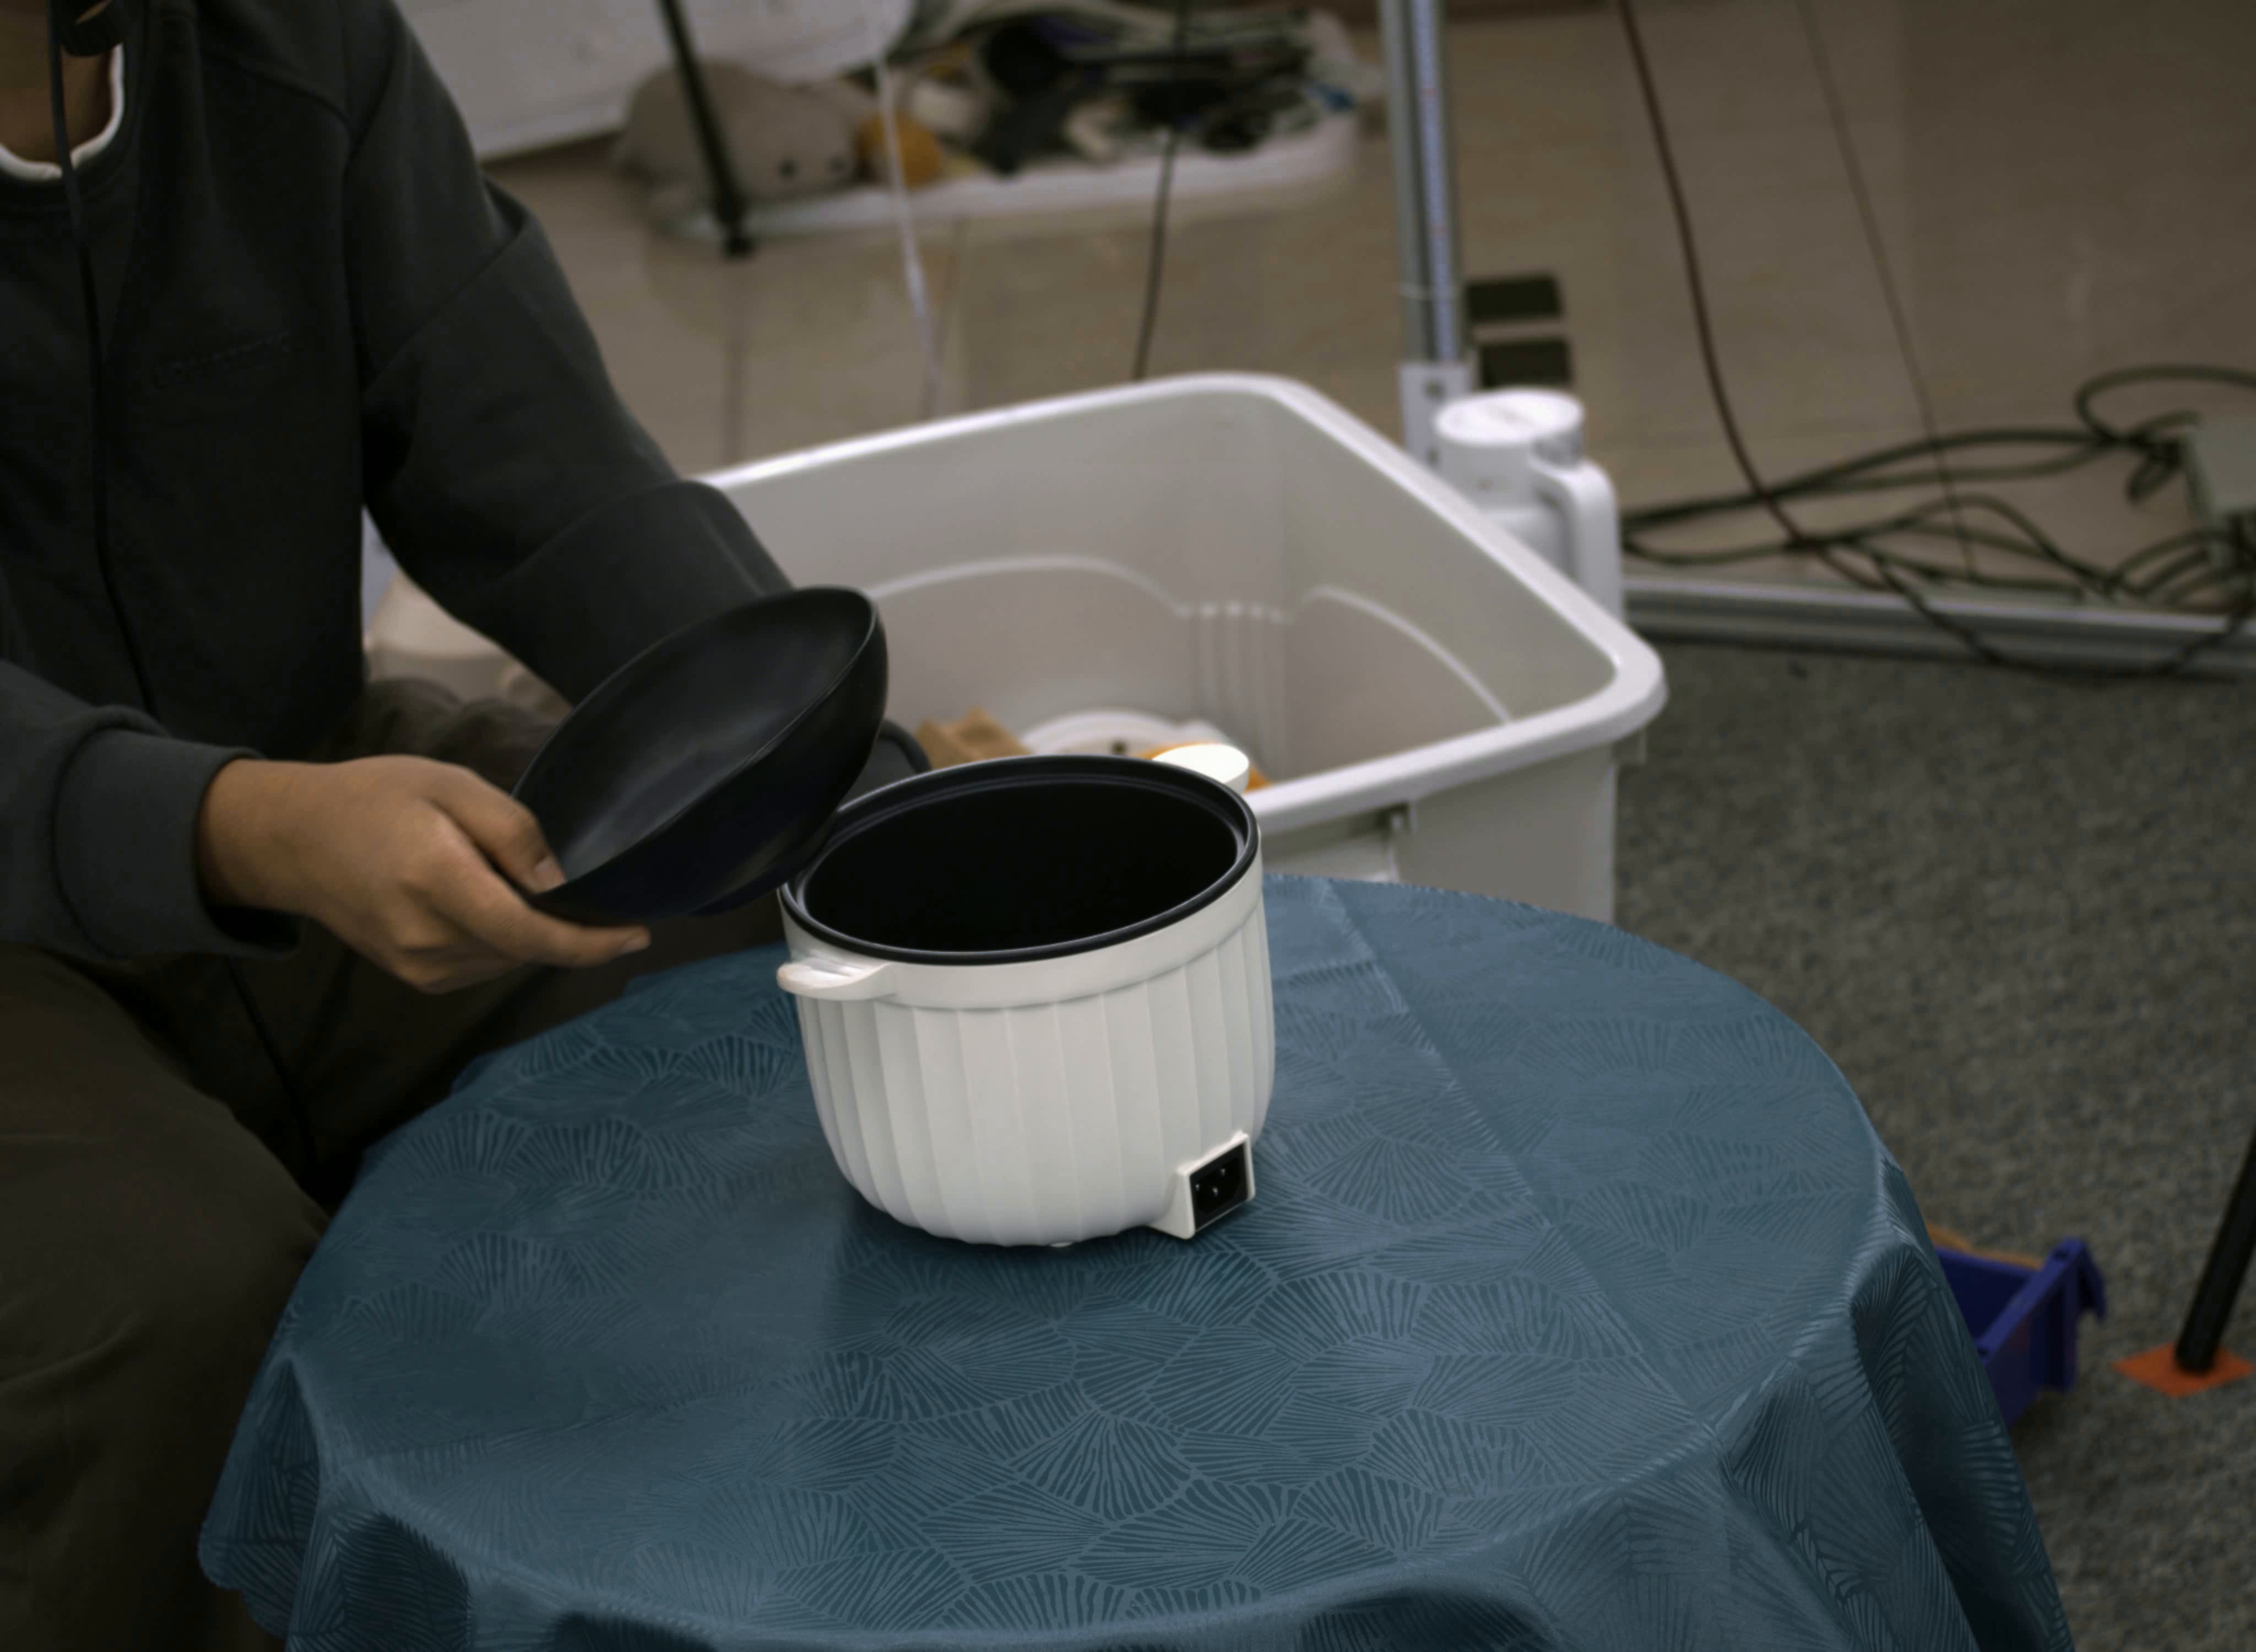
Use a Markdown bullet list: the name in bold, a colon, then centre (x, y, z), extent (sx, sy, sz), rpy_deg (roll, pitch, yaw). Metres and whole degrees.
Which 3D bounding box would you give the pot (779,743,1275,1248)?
- **pot**: centre (-0.039, 0.069, 2.142), extent (0.189, 0.145, 0.238), rpy_deg (19, 34, 38)

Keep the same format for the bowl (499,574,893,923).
- **bowl**: centre (-0.145, -0.017, 2.032), extent (0.169, 0.067, 0.136), rpy_deg (-42, 29, -16)
